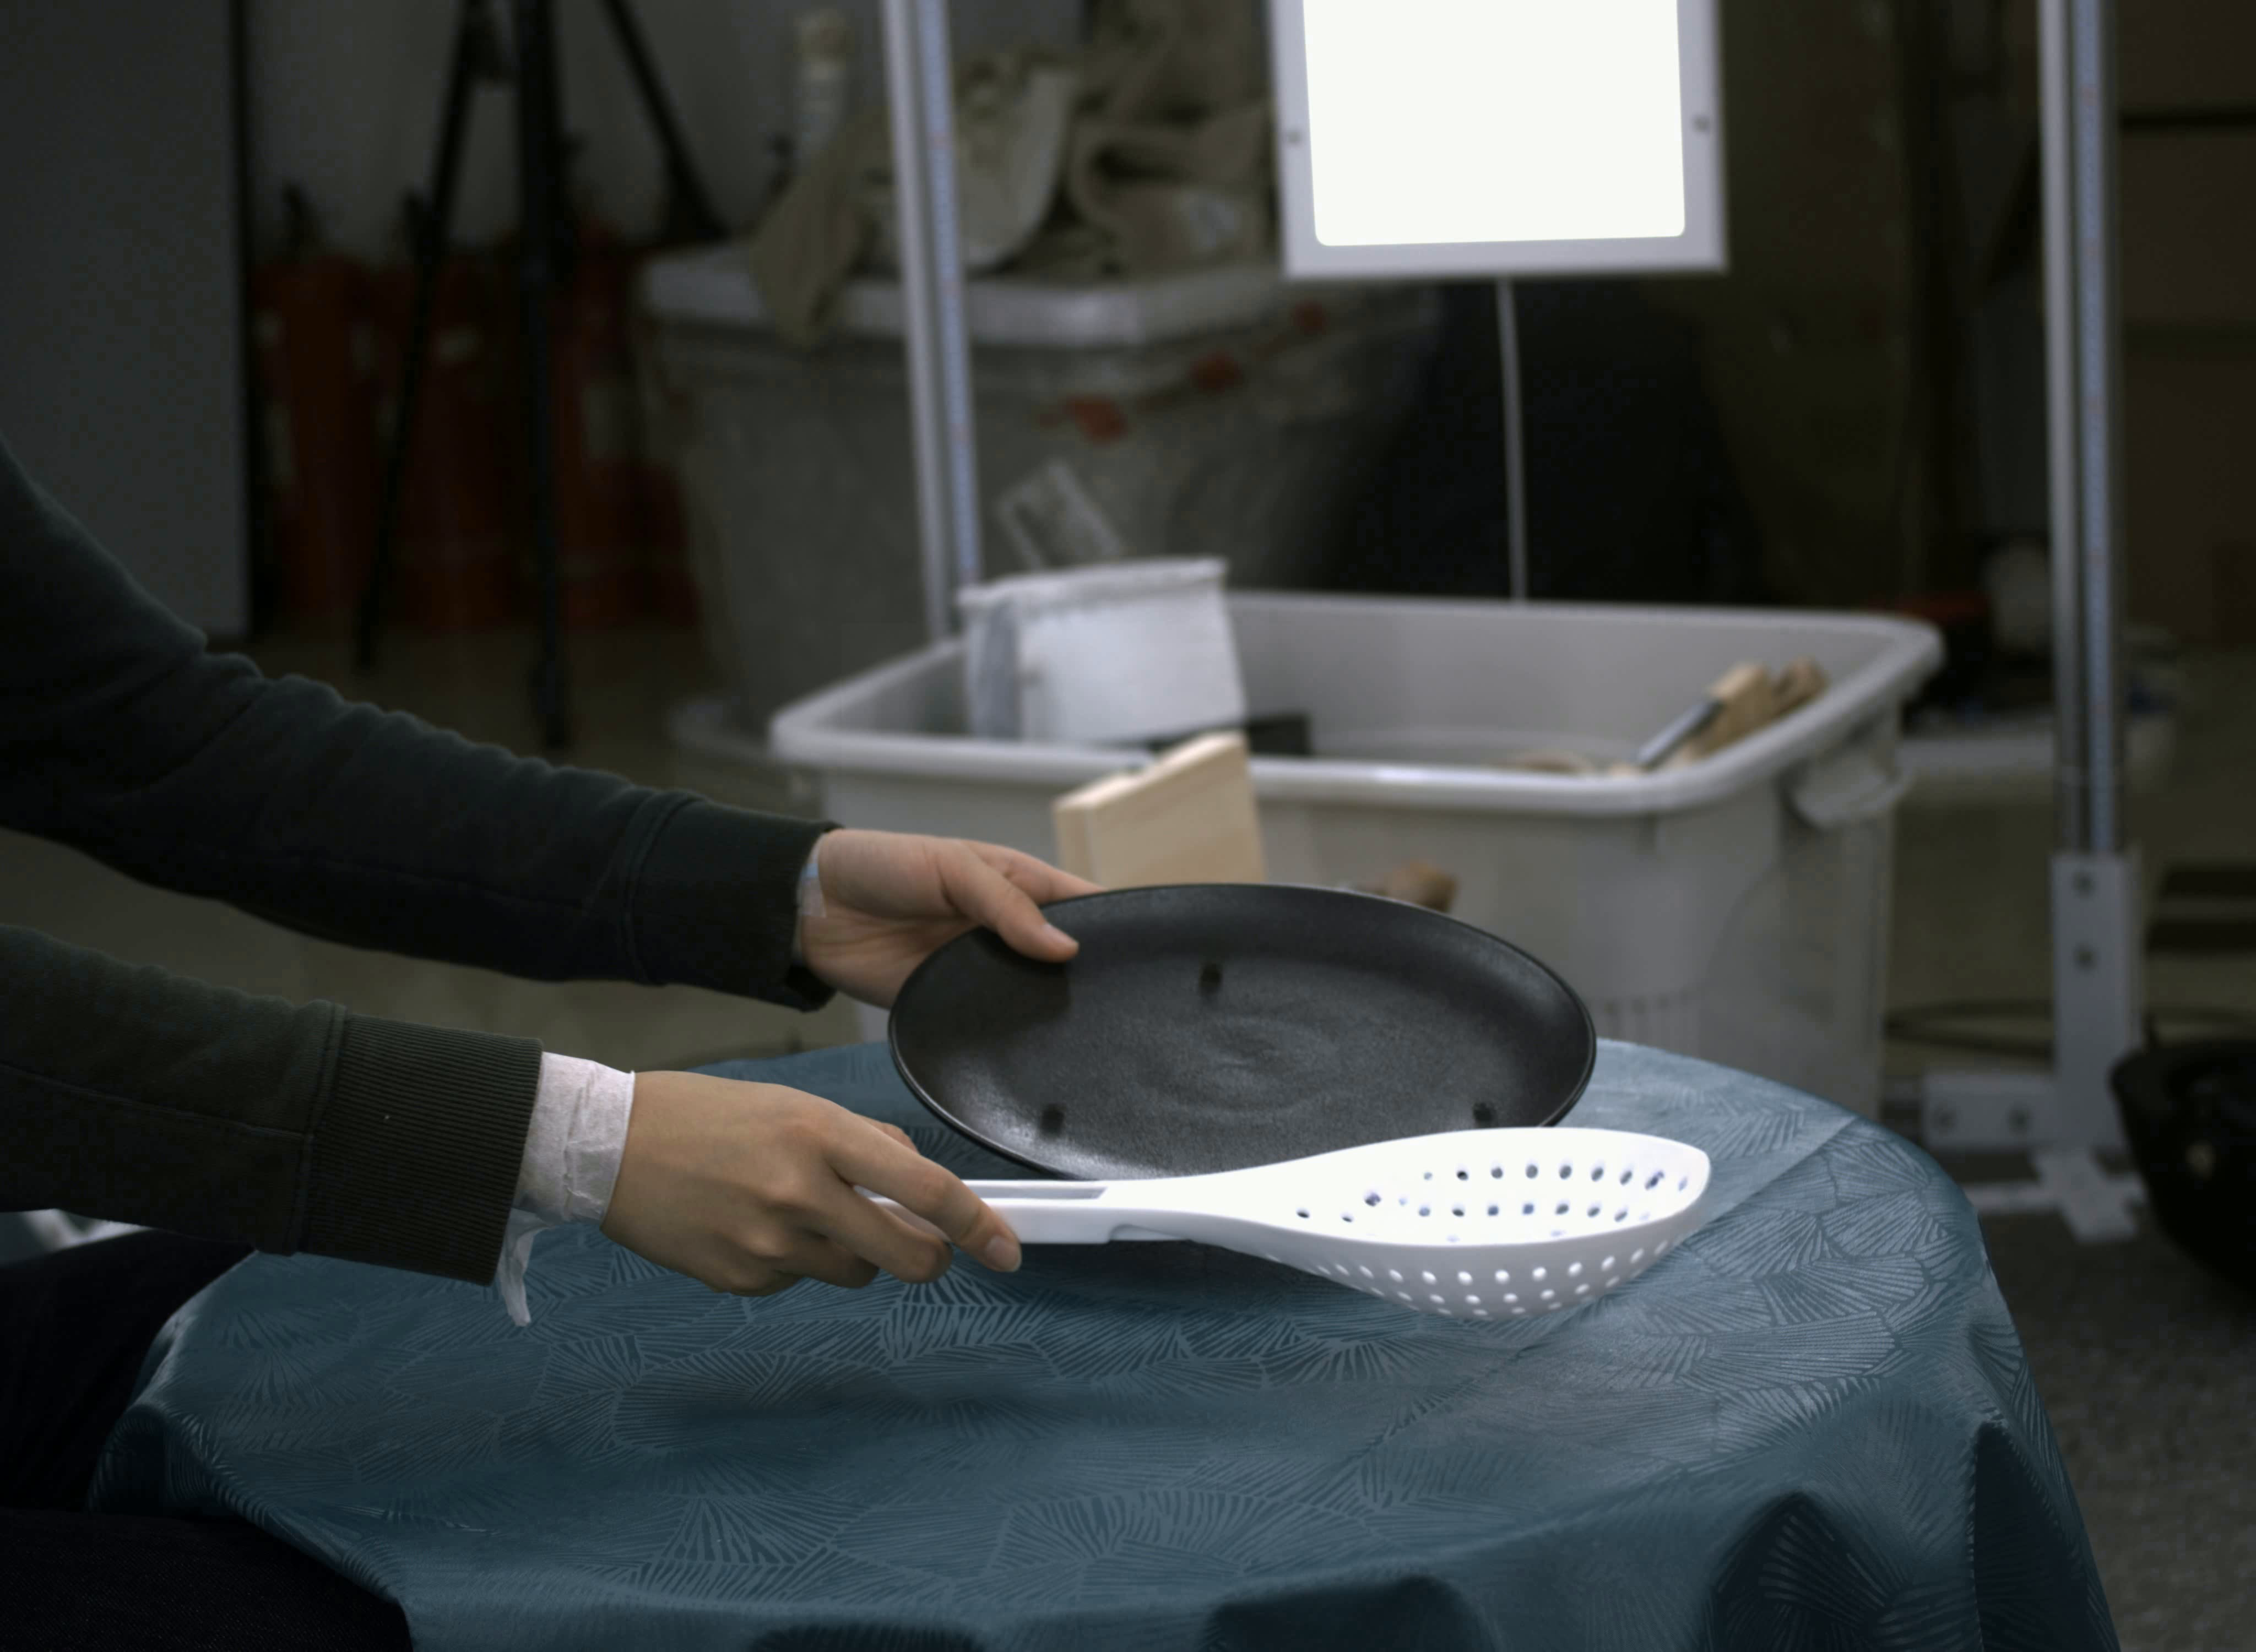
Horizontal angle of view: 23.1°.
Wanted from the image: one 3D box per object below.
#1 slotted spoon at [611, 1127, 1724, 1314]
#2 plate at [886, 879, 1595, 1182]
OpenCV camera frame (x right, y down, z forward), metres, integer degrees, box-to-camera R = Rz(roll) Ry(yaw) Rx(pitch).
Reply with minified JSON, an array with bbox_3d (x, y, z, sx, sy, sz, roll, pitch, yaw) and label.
[{"bbox_3d":[0.008,0.116,1.690,0.353,0.046,0.134,3,11,16],"label":"slotted spoon"},{"bbox_3d":[0.038,0.078,1.881,0.243,0.023,0.244,-1,24,-1],"label":"plate"}]
